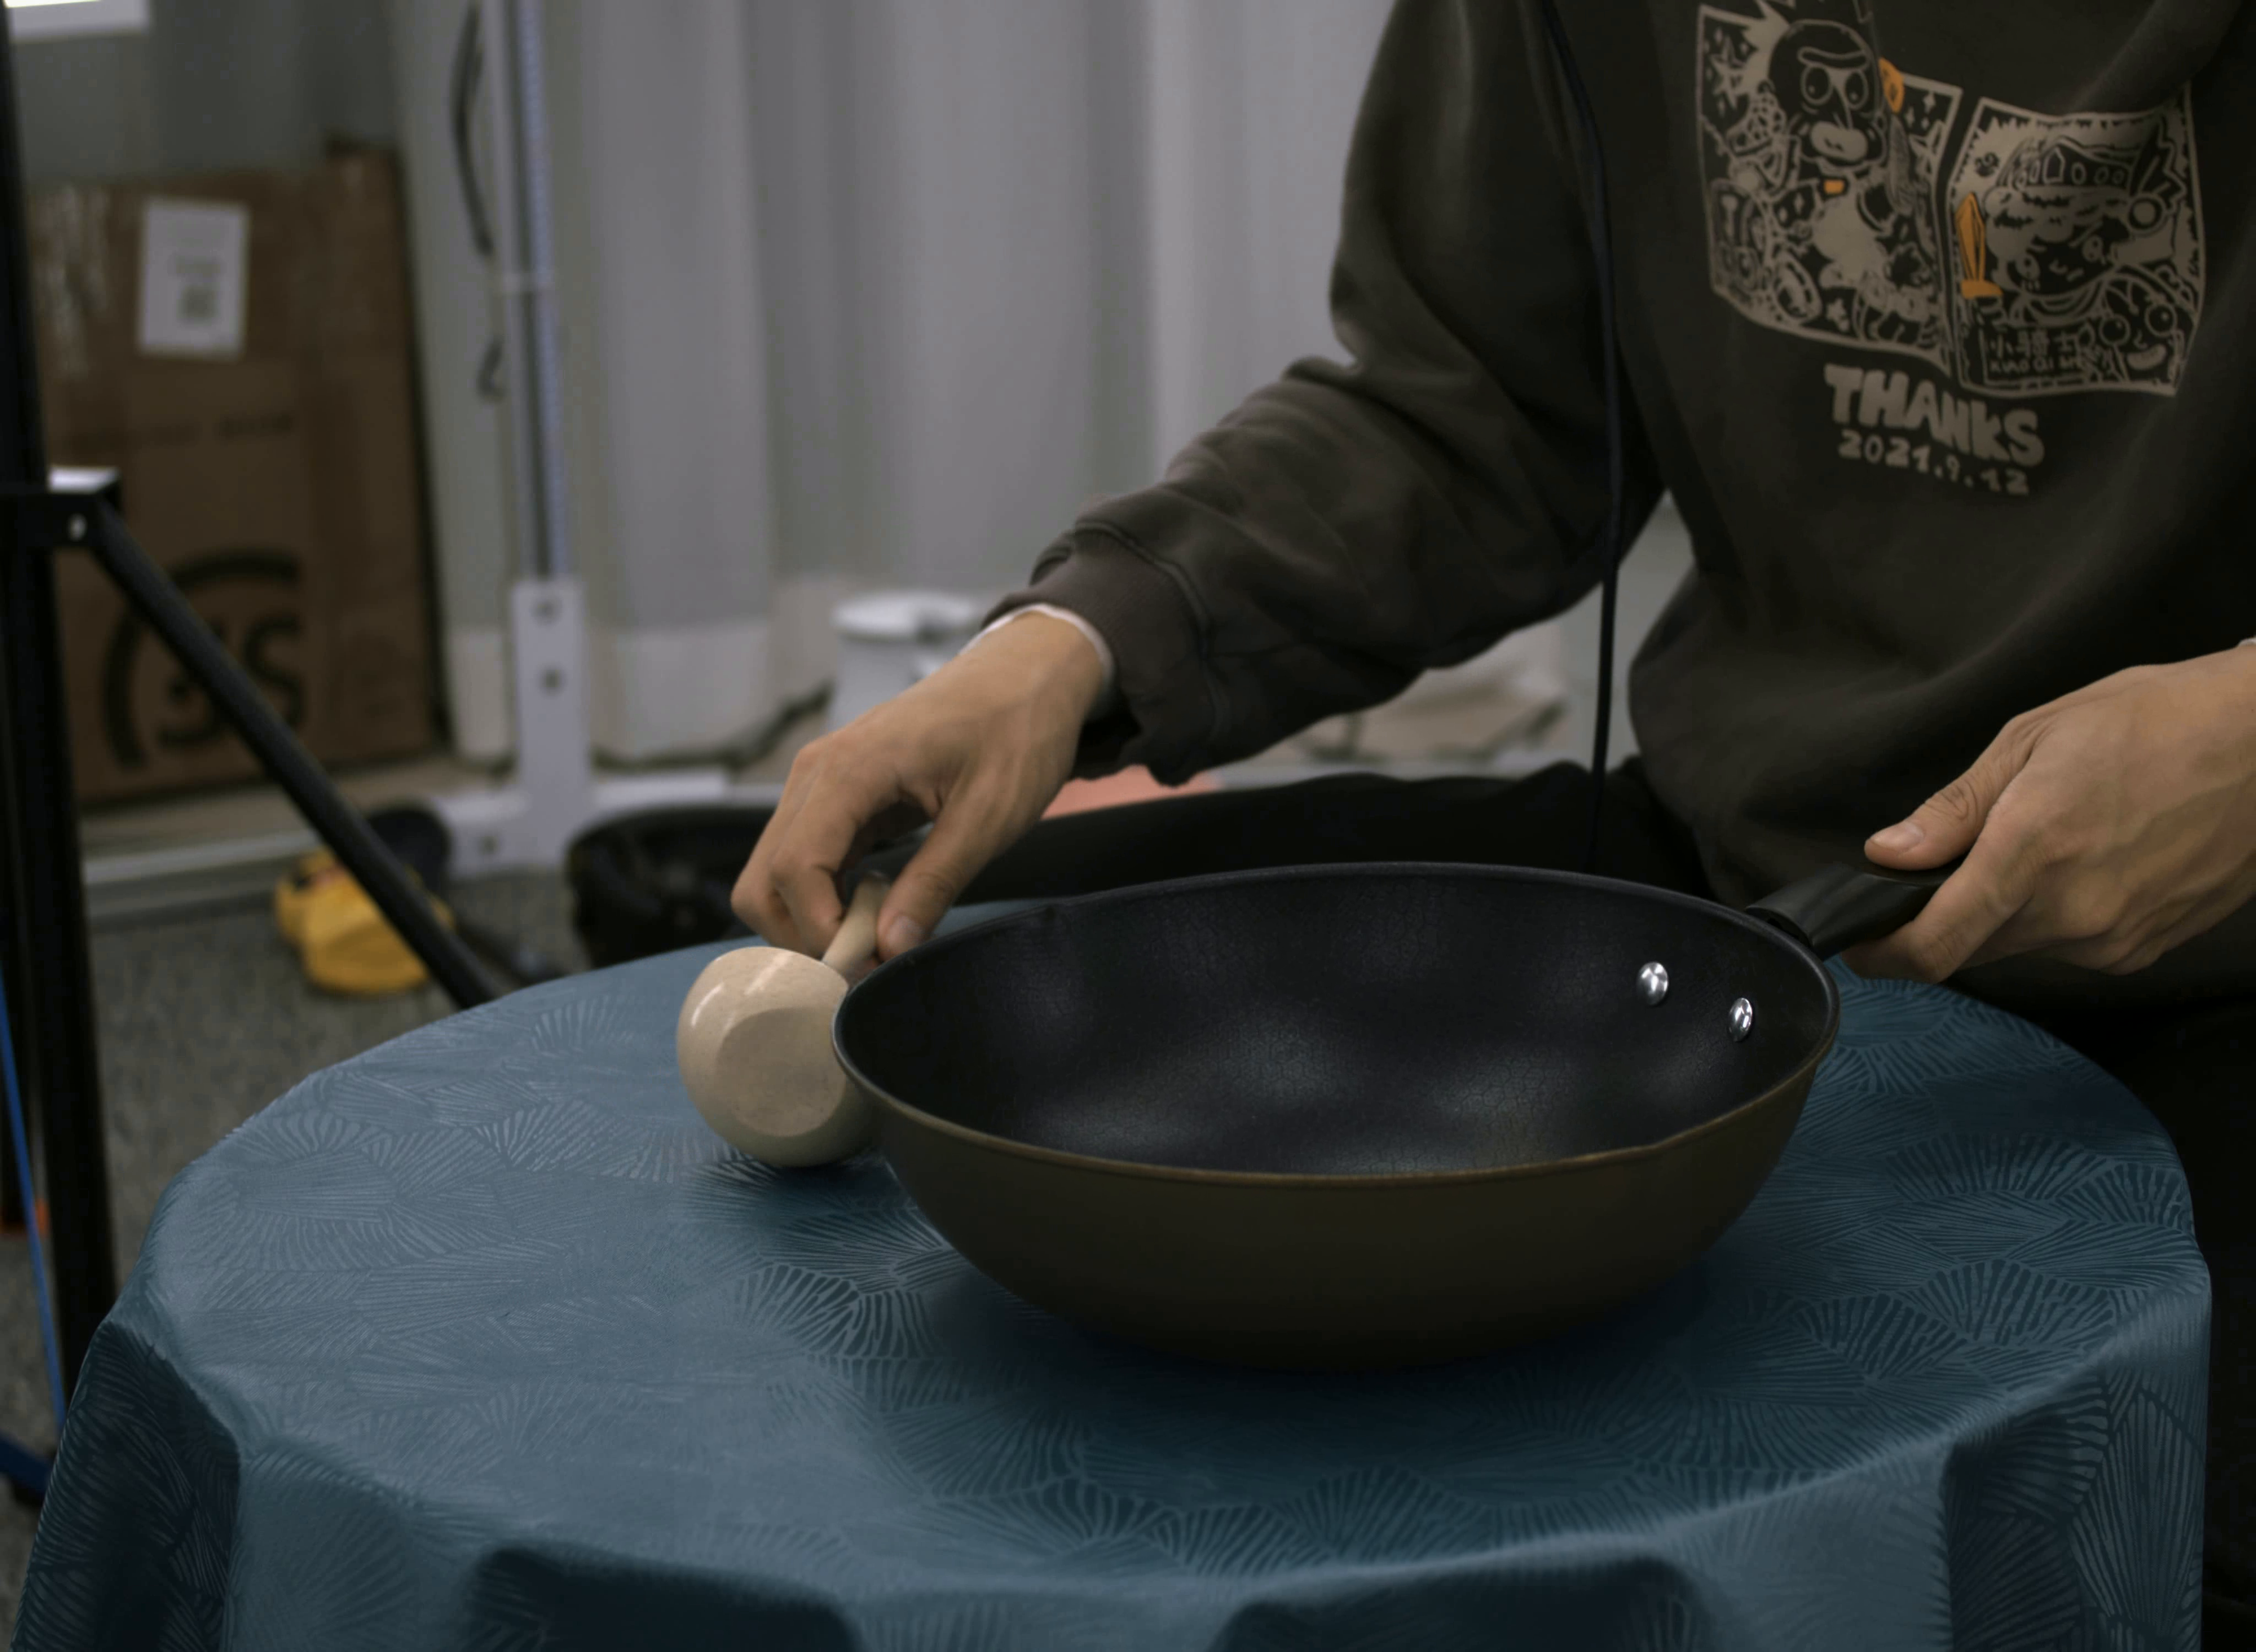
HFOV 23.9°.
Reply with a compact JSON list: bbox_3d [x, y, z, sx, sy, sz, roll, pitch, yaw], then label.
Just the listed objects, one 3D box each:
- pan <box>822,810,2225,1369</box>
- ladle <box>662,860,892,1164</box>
[{"bbox_3d":[0.133,0.070,1.519,0.453,0.087,0.294,-11,18,-29],"label":"pan"},{"bbox_3d":[-0.089,0.032,1.684,0.072,0.073,0.254,33,22,-4],"label":"ladle"}]
